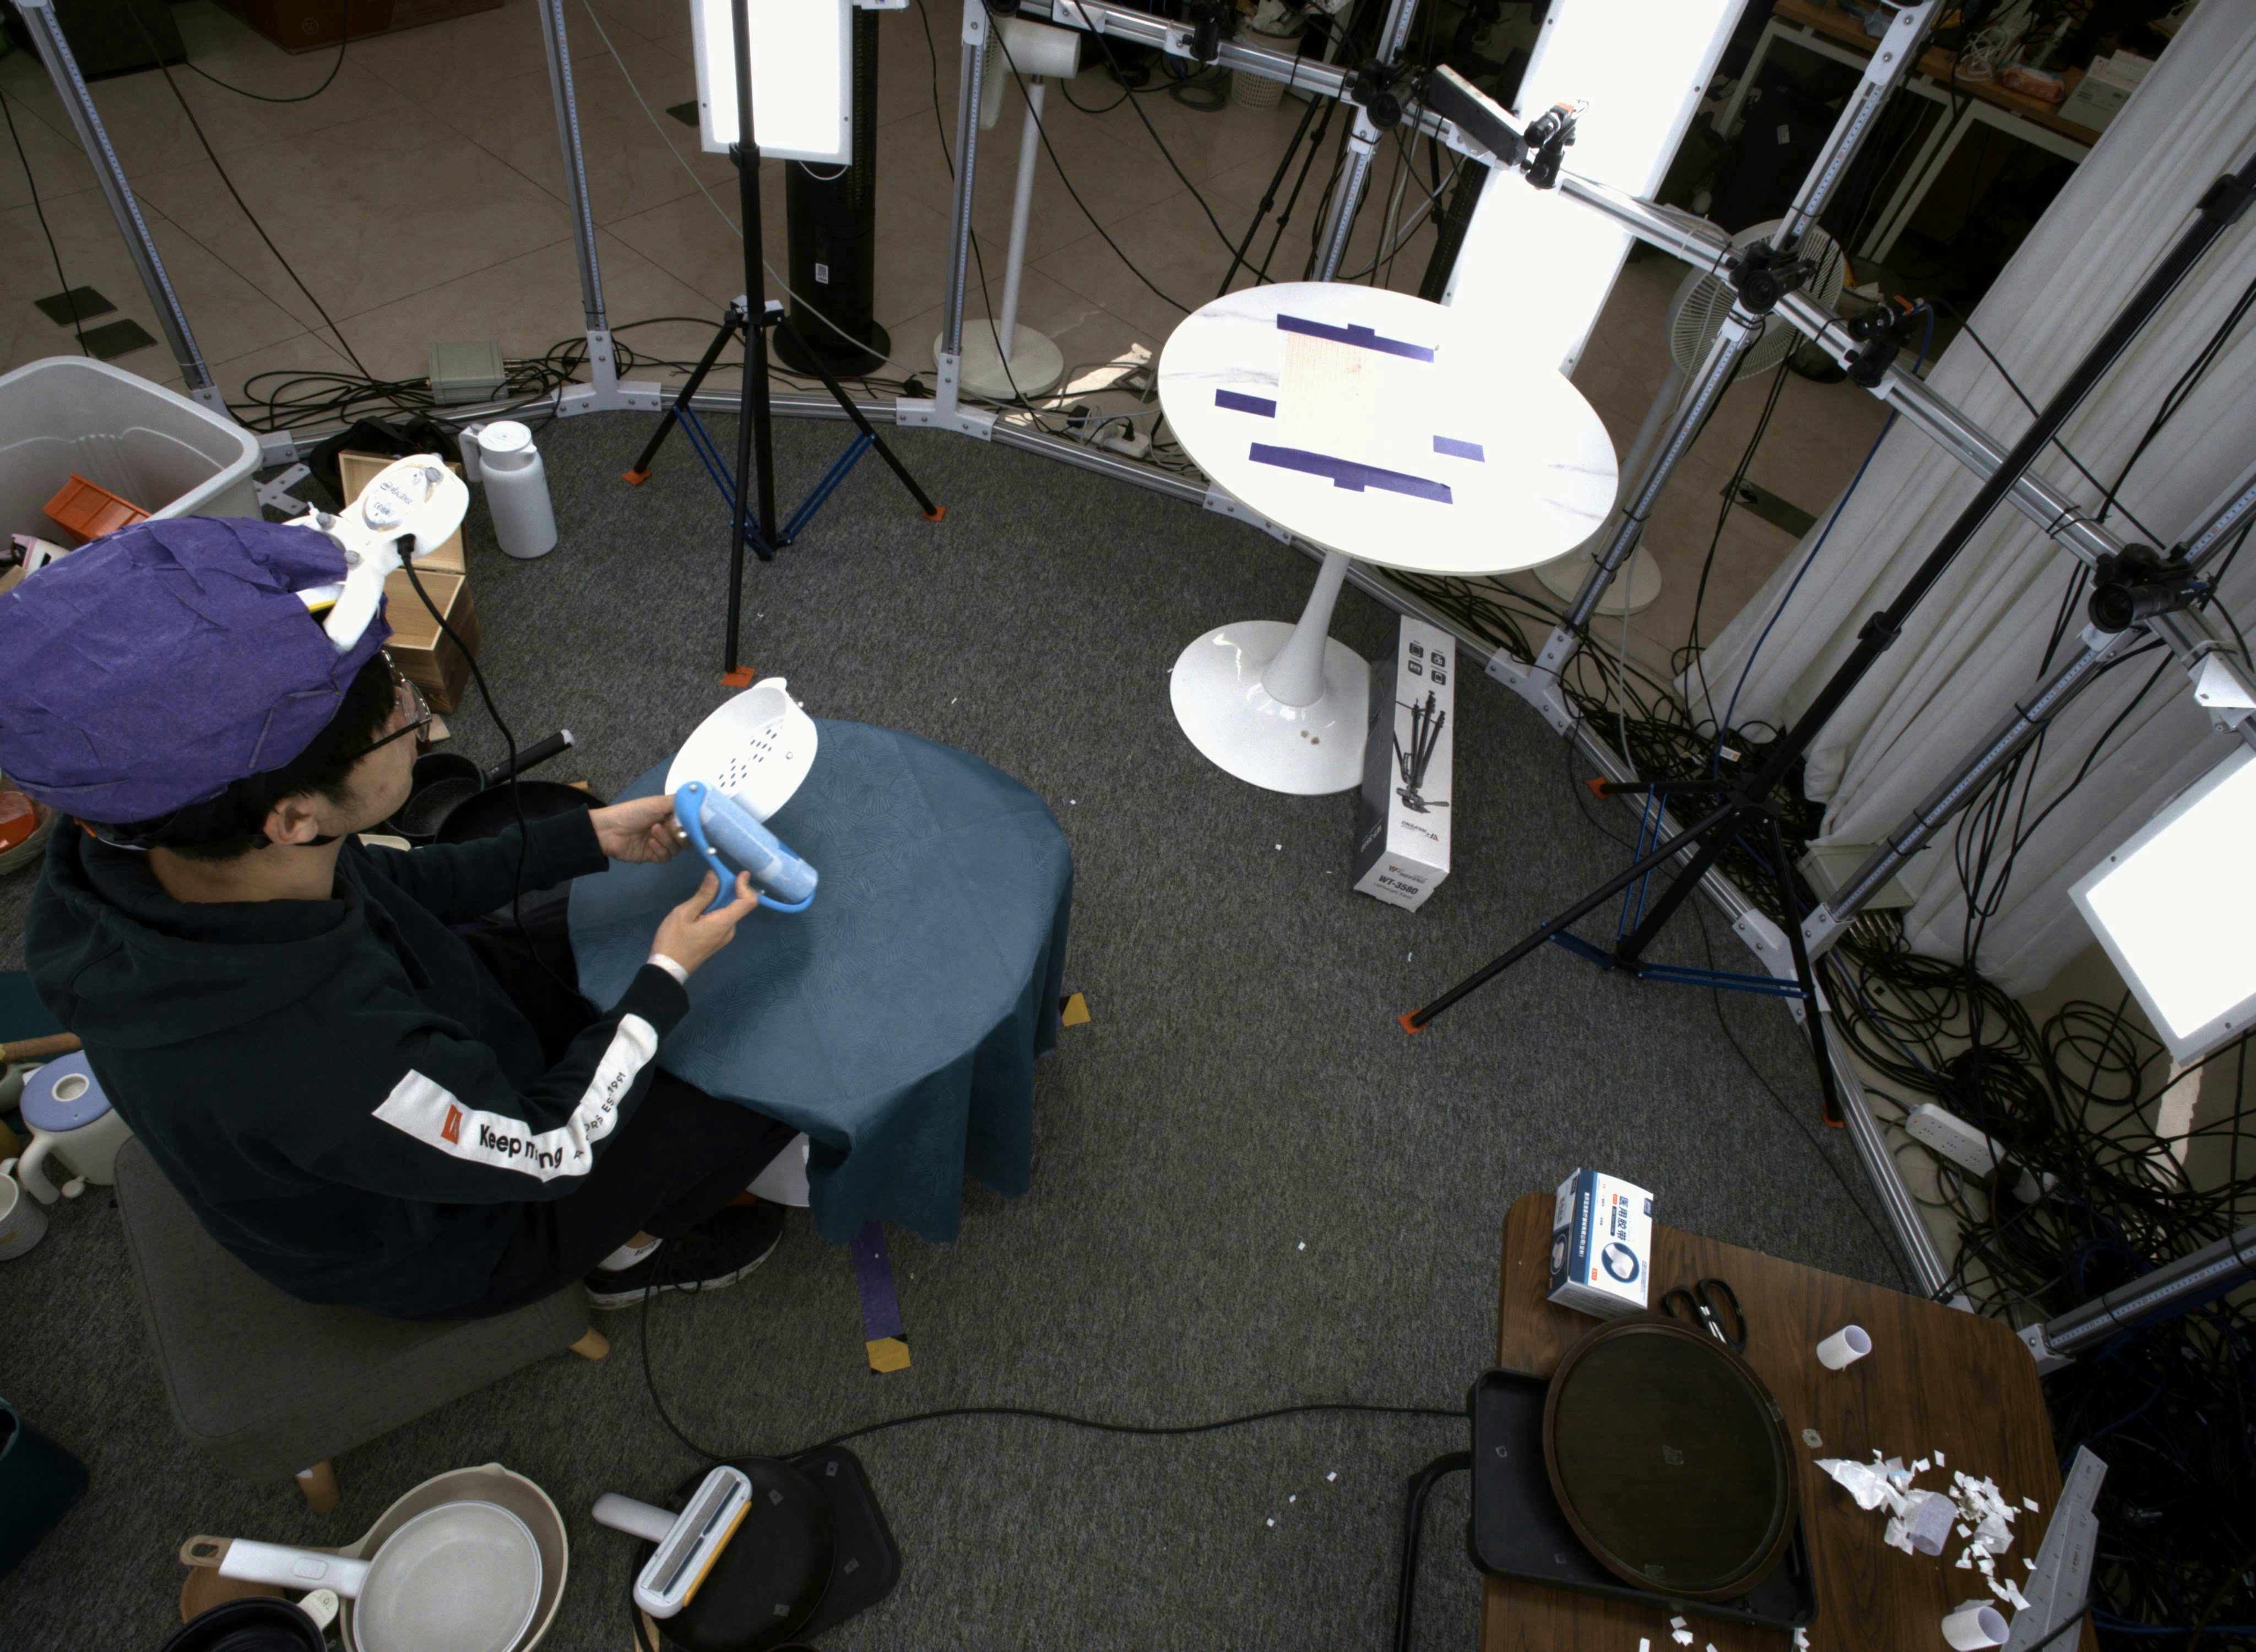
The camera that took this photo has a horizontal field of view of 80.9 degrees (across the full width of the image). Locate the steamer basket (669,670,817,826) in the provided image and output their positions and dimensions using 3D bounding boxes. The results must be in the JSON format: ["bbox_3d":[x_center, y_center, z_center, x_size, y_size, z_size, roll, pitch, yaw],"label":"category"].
[{"bbox_3d":[-0.473,-0.083,1.594,0.195,0.072,0.230,1,58,40],"label":"steamer basket"}]

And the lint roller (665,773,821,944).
[{"bbox_3d":[-0.471,0.063,1.508,0.065,0.237,0.180,17,72,38],"label":"lint roller"}]
